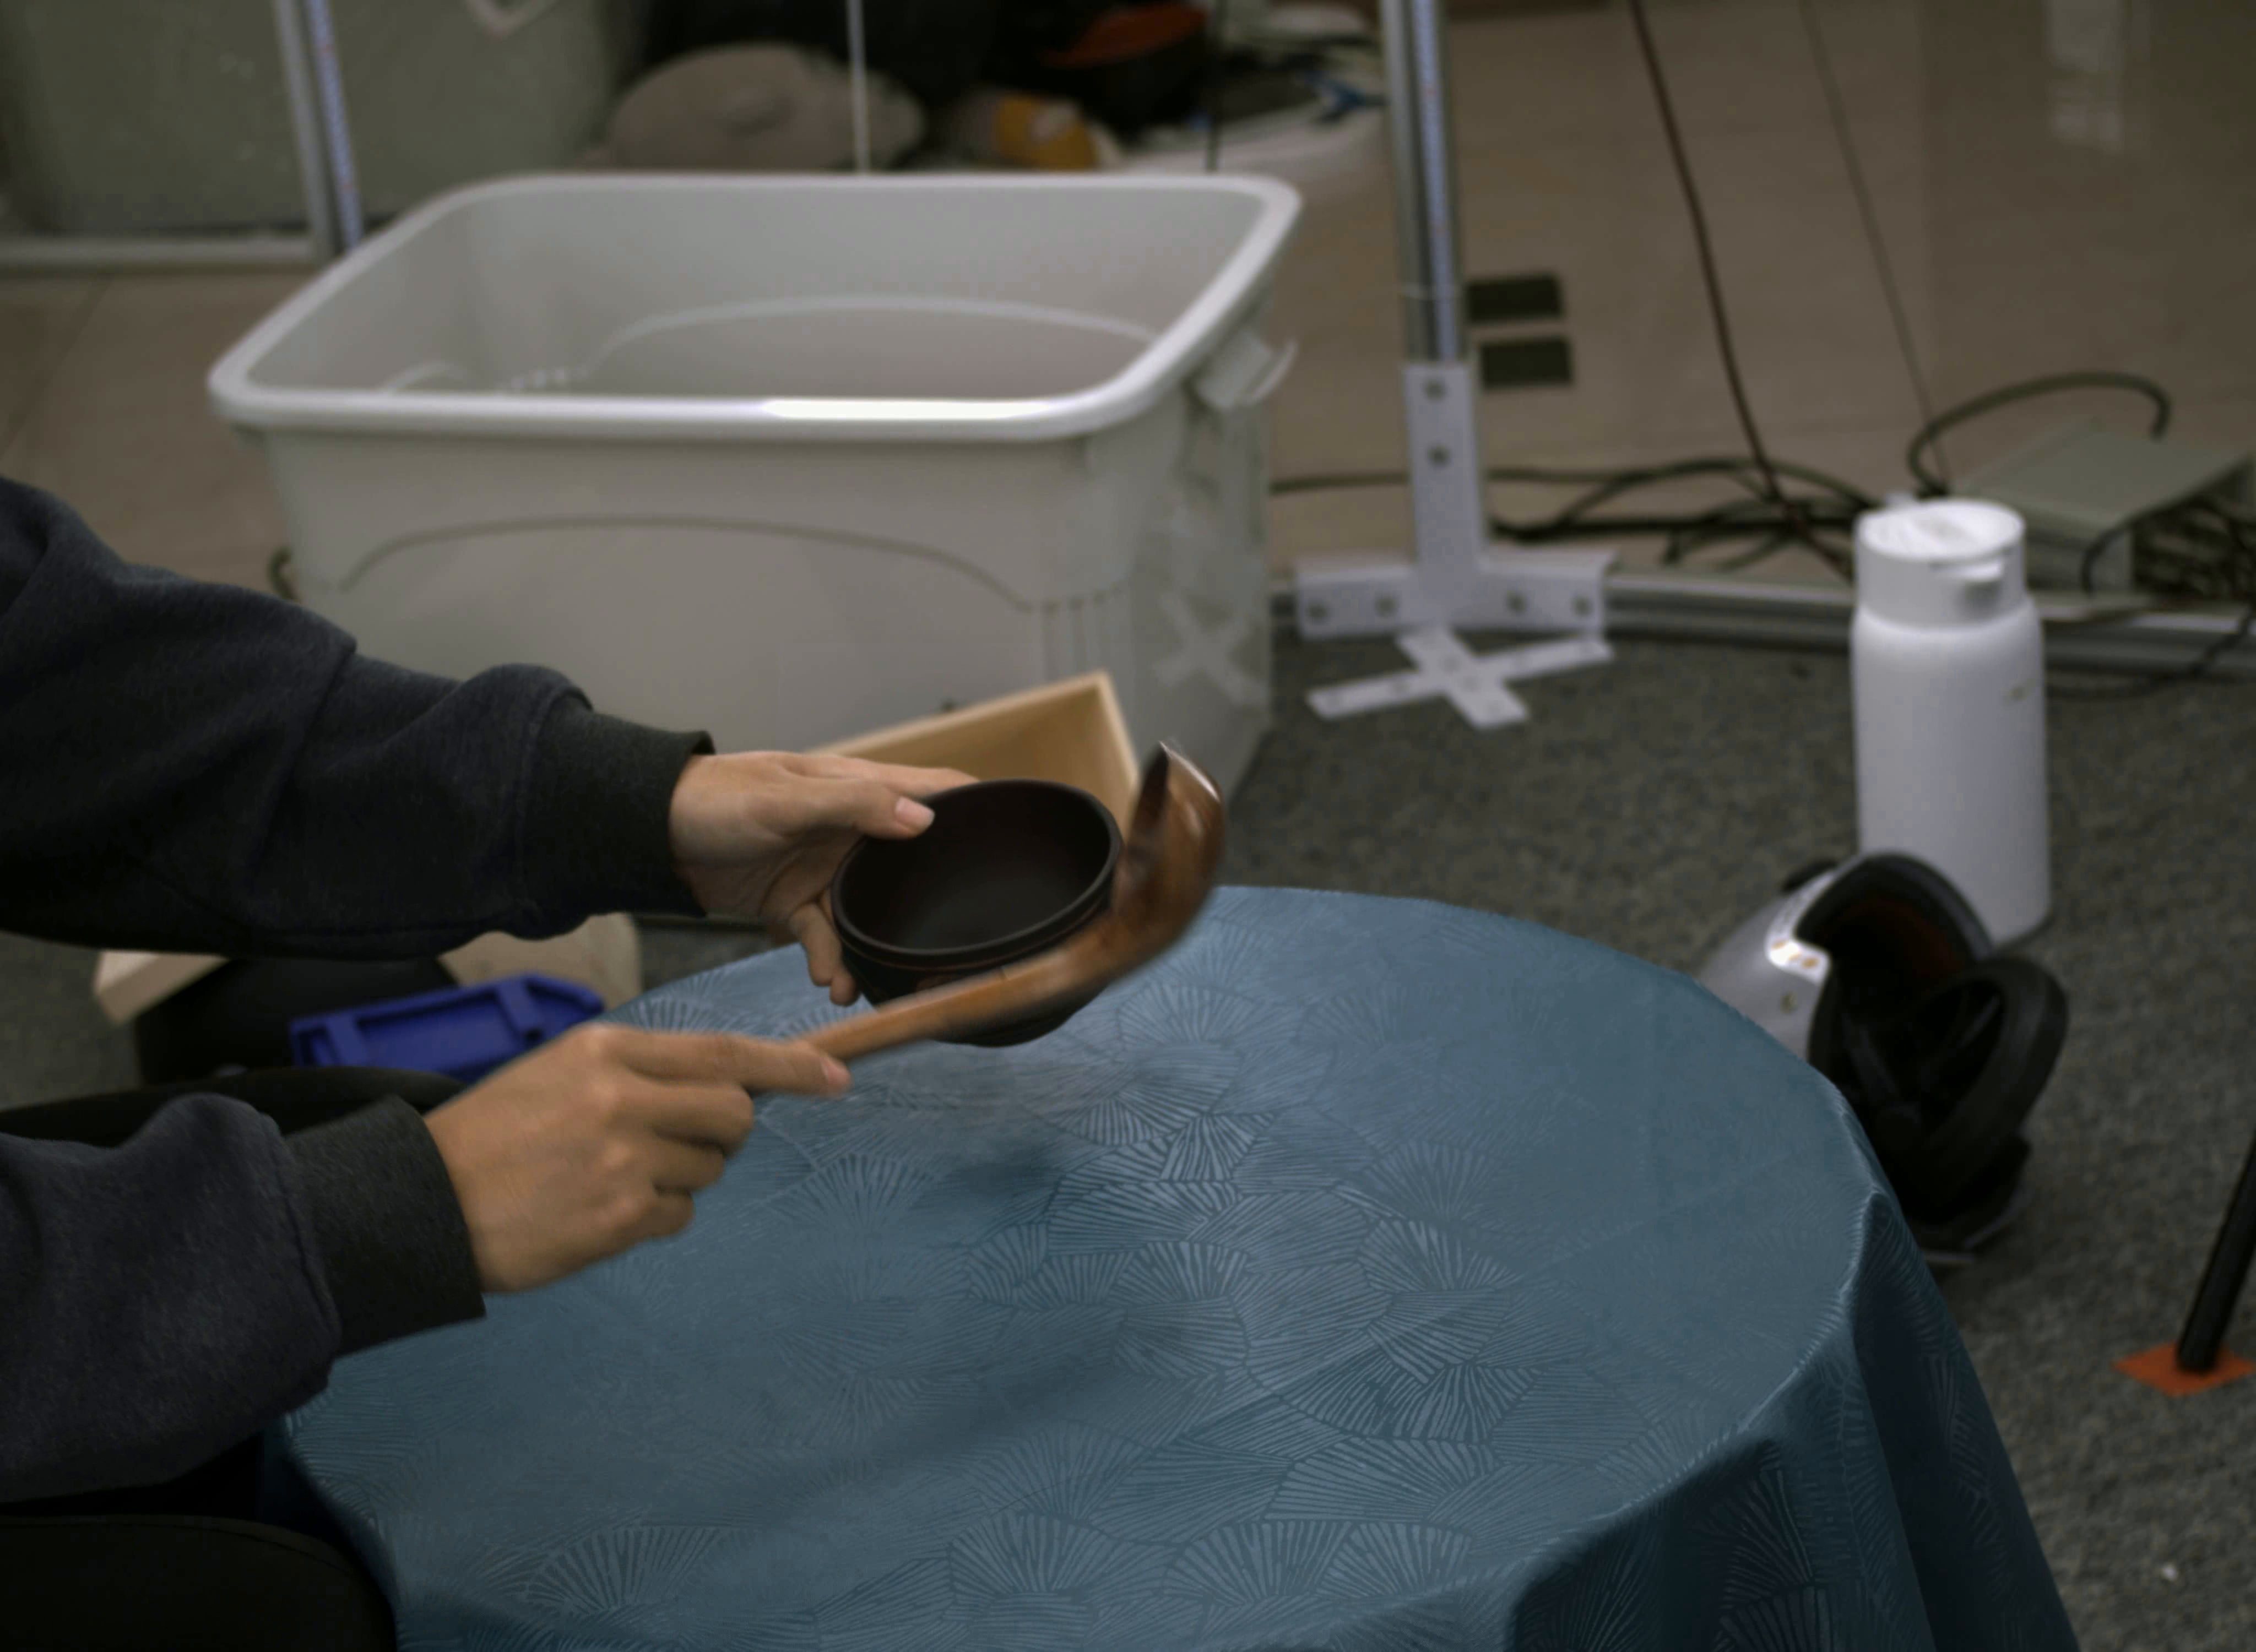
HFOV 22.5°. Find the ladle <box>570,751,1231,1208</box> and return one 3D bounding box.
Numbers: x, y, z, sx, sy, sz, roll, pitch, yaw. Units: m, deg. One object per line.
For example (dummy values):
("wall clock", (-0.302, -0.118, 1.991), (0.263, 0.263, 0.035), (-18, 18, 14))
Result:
("ladle", (-0.081, 0.049, 1.970), (0.272, 0.083, 0.076), (-20, 70, -20))

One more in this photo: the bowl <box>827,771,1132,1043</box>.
("bowl", (-0.052, 0.040, 2.190), (0.118, 0.071, 0.116), (-11, 35, 8))
